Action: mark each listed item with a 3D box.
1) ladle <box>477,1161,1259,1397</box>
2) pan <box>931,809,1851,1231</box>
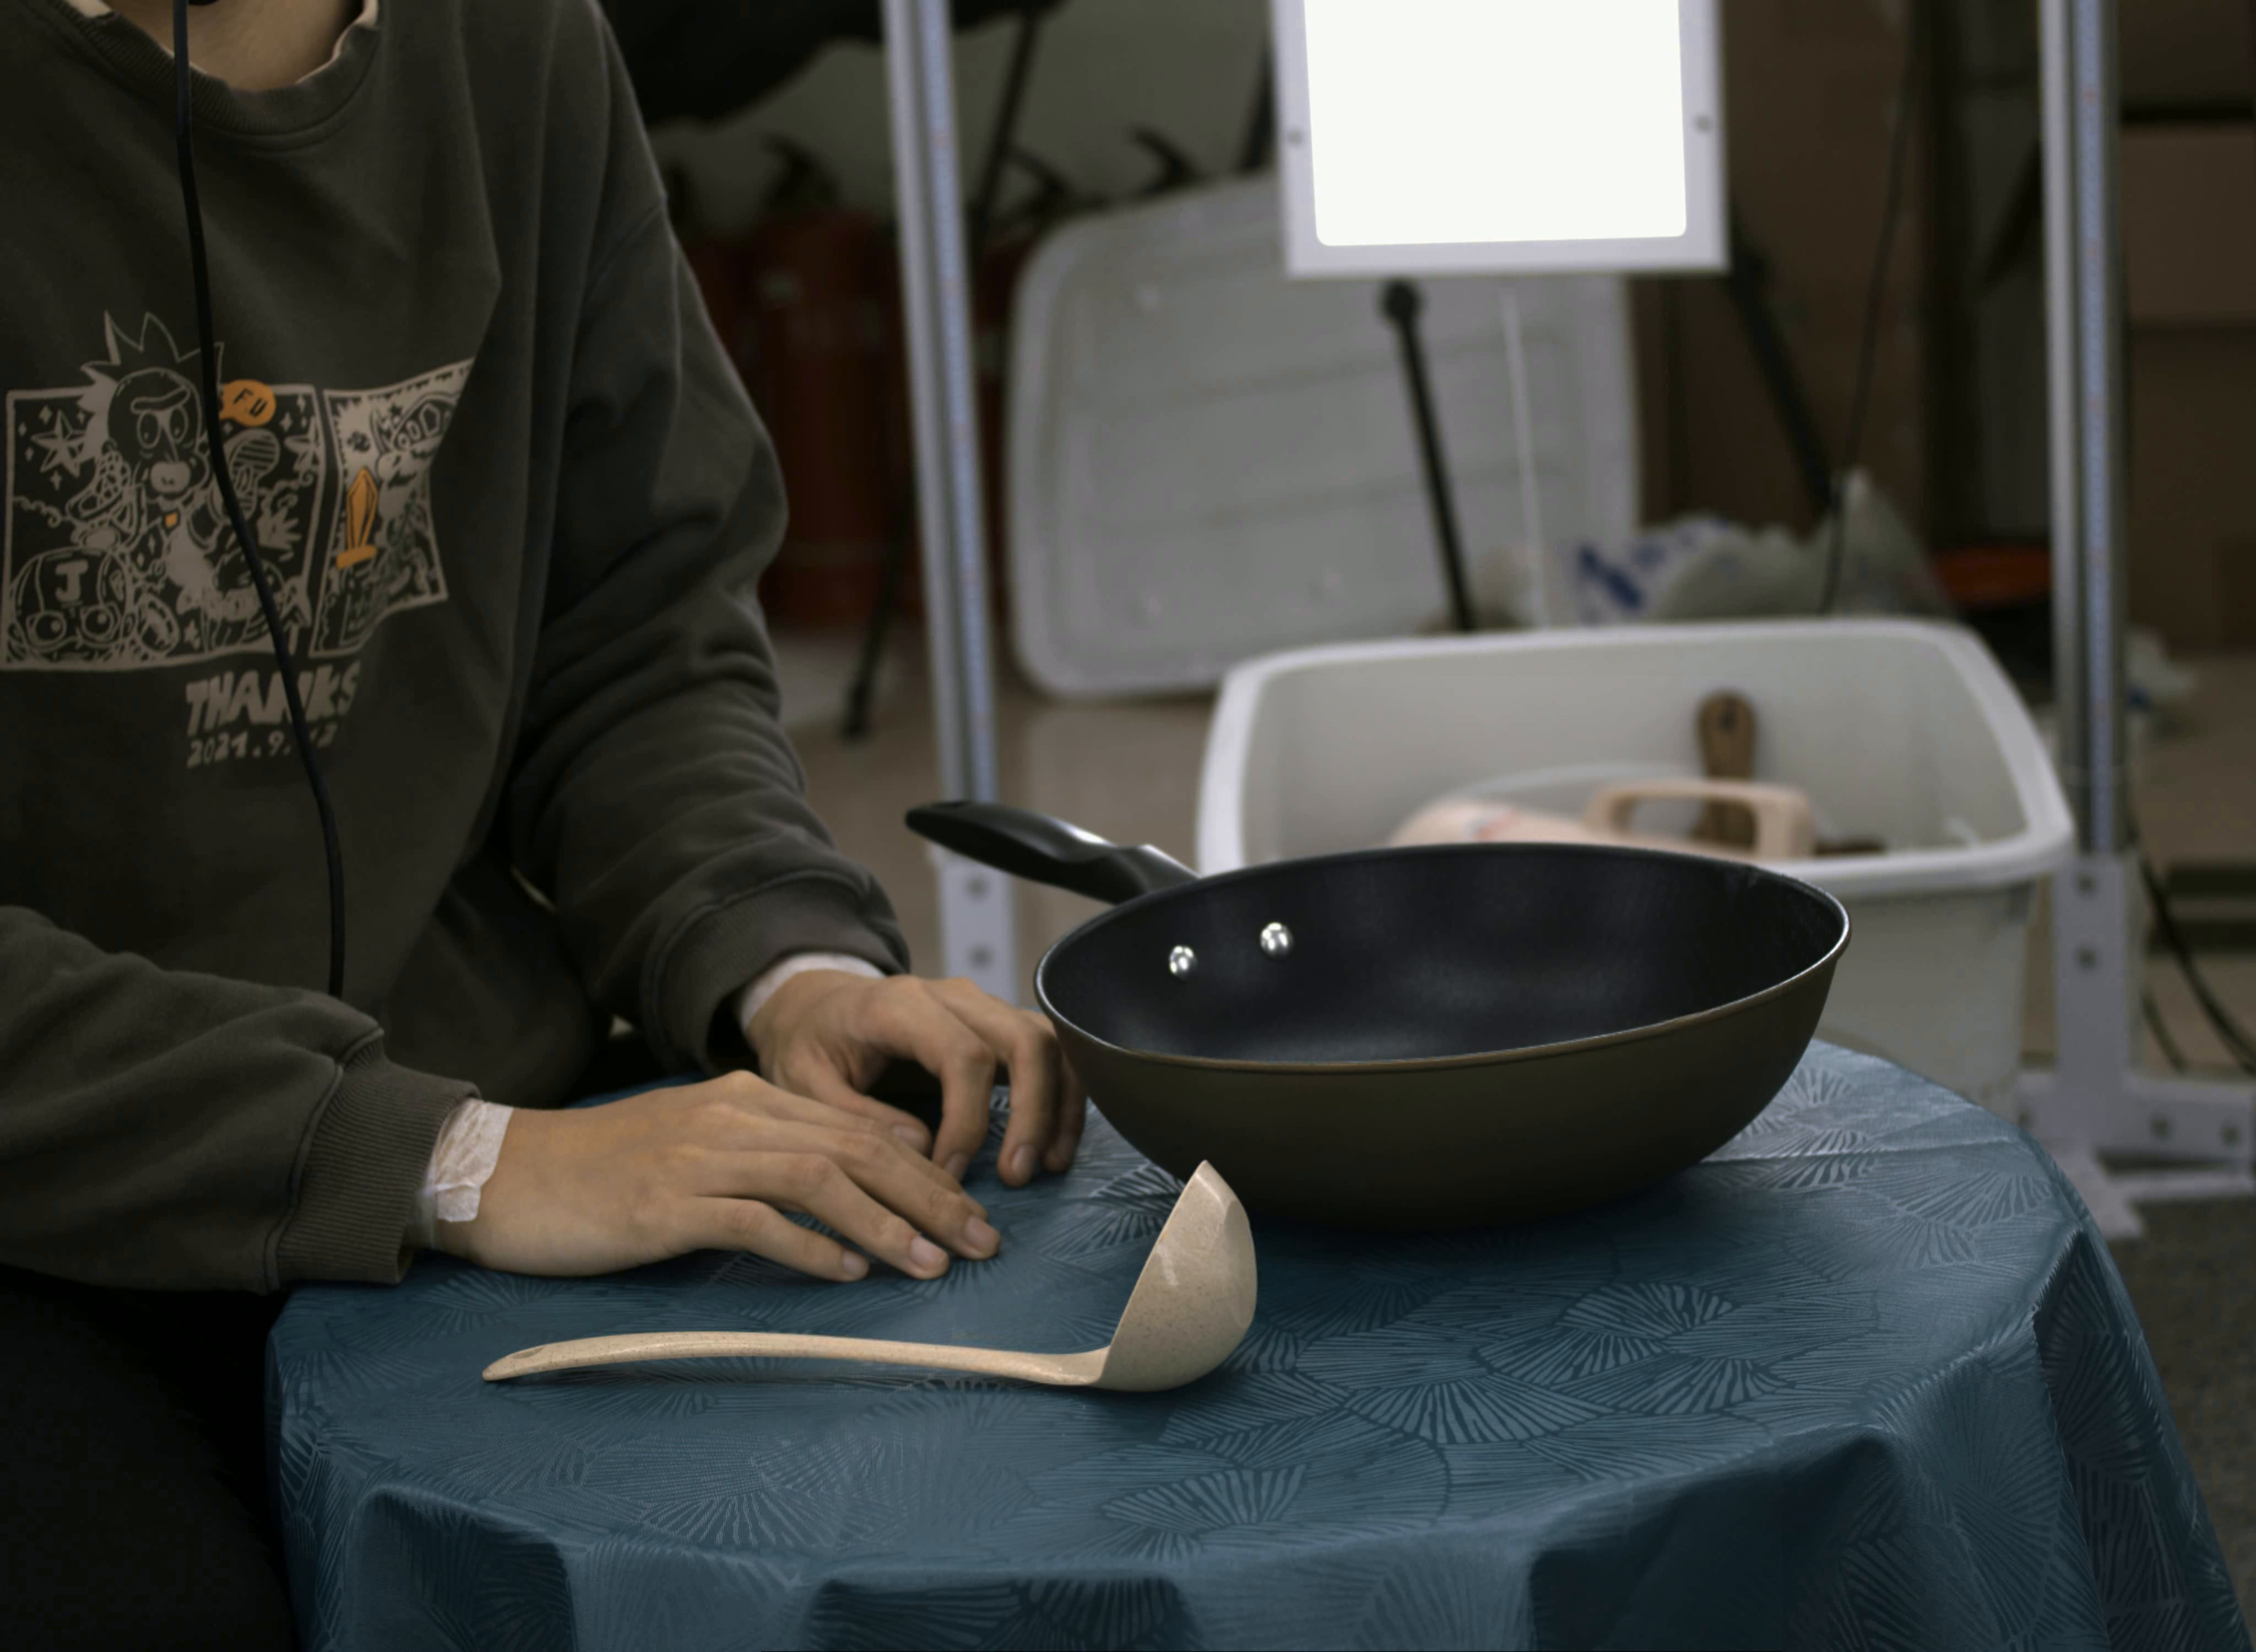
[{"bbox_3d":[-0.086,0.140,1.720,0.256,0.073,0.071,0,20,14],"label":"ladle"},{"bbox_3d":[0.057,0.064,1.956,0.281,0.087,0.472,-14,15,-31],"label":"pan"}]
